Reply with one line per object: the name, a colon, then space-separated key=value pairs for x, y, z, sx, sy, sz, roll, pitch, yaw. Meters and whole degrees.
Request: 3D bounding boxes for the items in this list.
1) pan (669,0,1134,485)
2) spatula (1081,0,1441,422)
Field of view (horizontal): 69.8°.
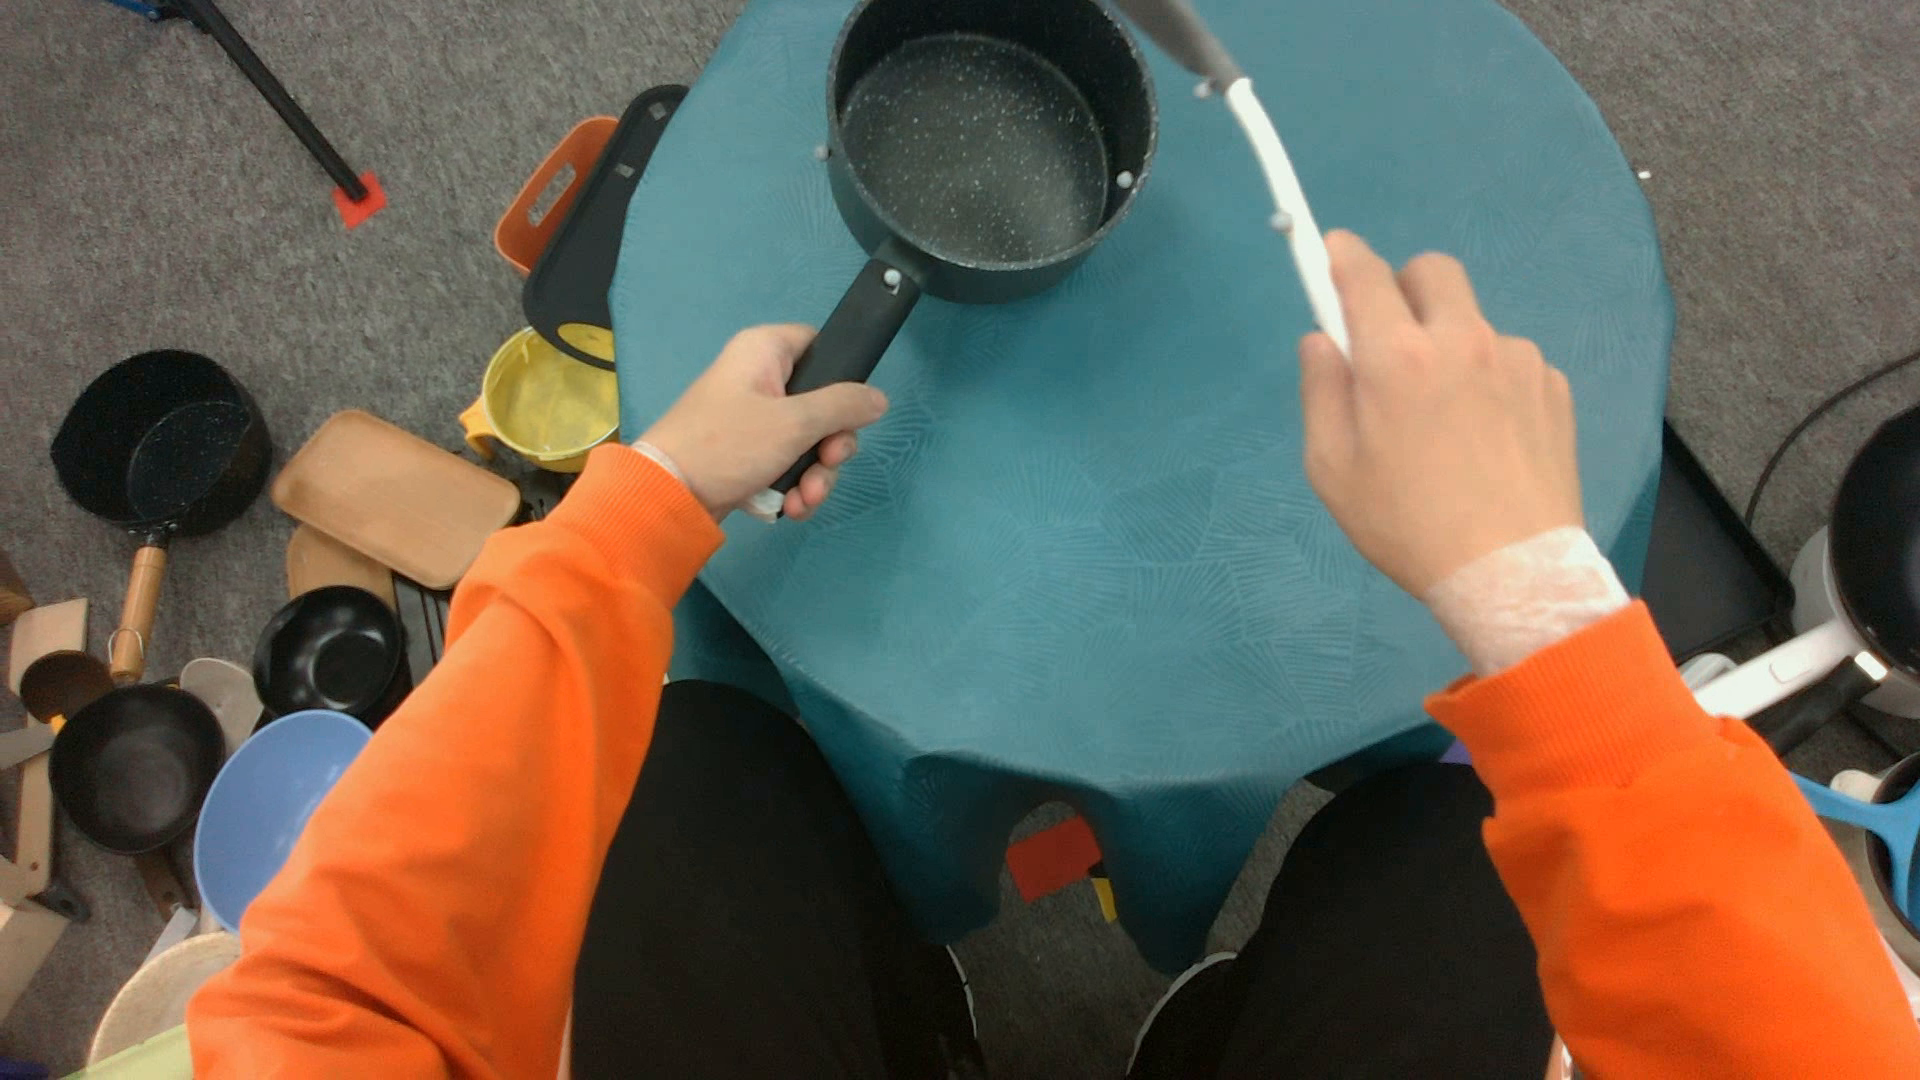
pan: x=-0.041 y=-0.160 z=0.709 sx=0.172 sy=0.086 sz=0.329 roll=33 pitch=76 yaw=-3
spatula: x=0.109 y=-0.170 z=0.583 sx=0.032 sy=0.058 sz=0.288 roll=-32 pitch=66 yaw=10
